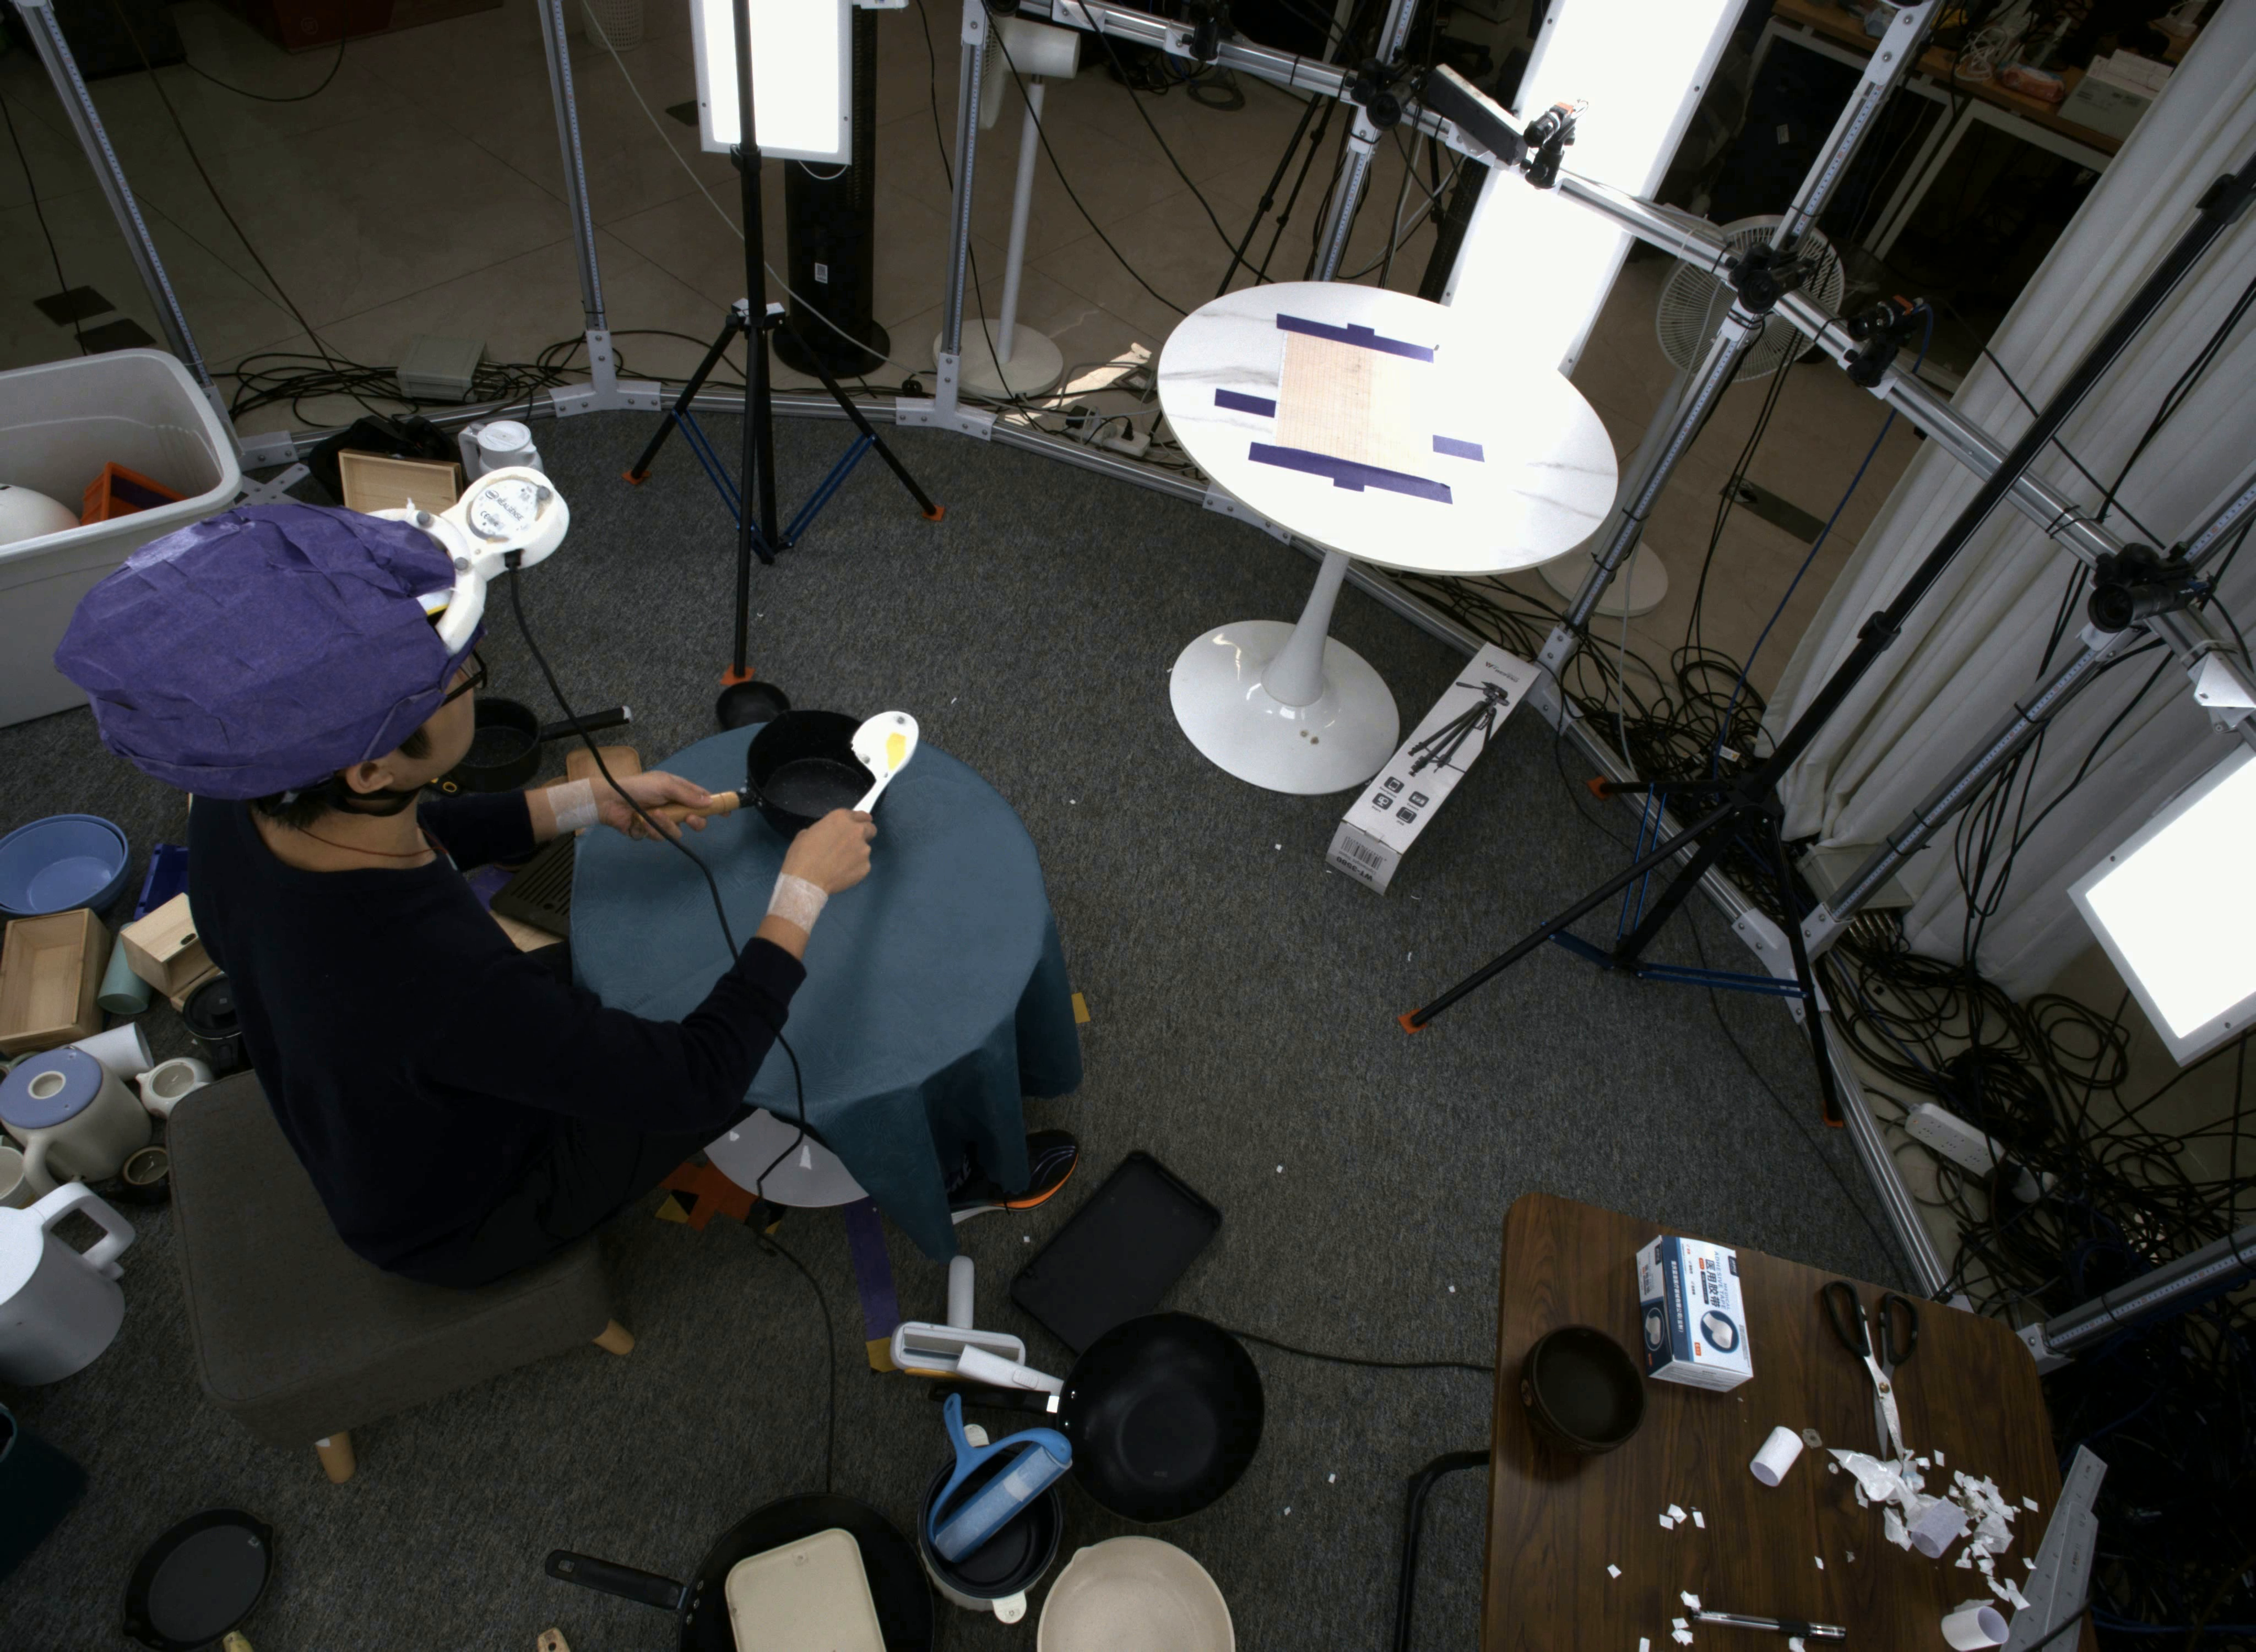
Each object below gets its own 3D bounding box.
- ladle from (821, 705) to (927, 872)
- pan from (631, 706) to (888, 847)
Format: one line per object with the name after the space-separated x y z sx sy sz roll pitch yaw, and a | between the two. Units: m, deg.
-0.311 -0.052 1.553 0.088 0.072 0.288 -2 30 10 | ladle
-0.468 -0.037 1.652 0.345 0.110 0.203 -26 65 -34 | pan
